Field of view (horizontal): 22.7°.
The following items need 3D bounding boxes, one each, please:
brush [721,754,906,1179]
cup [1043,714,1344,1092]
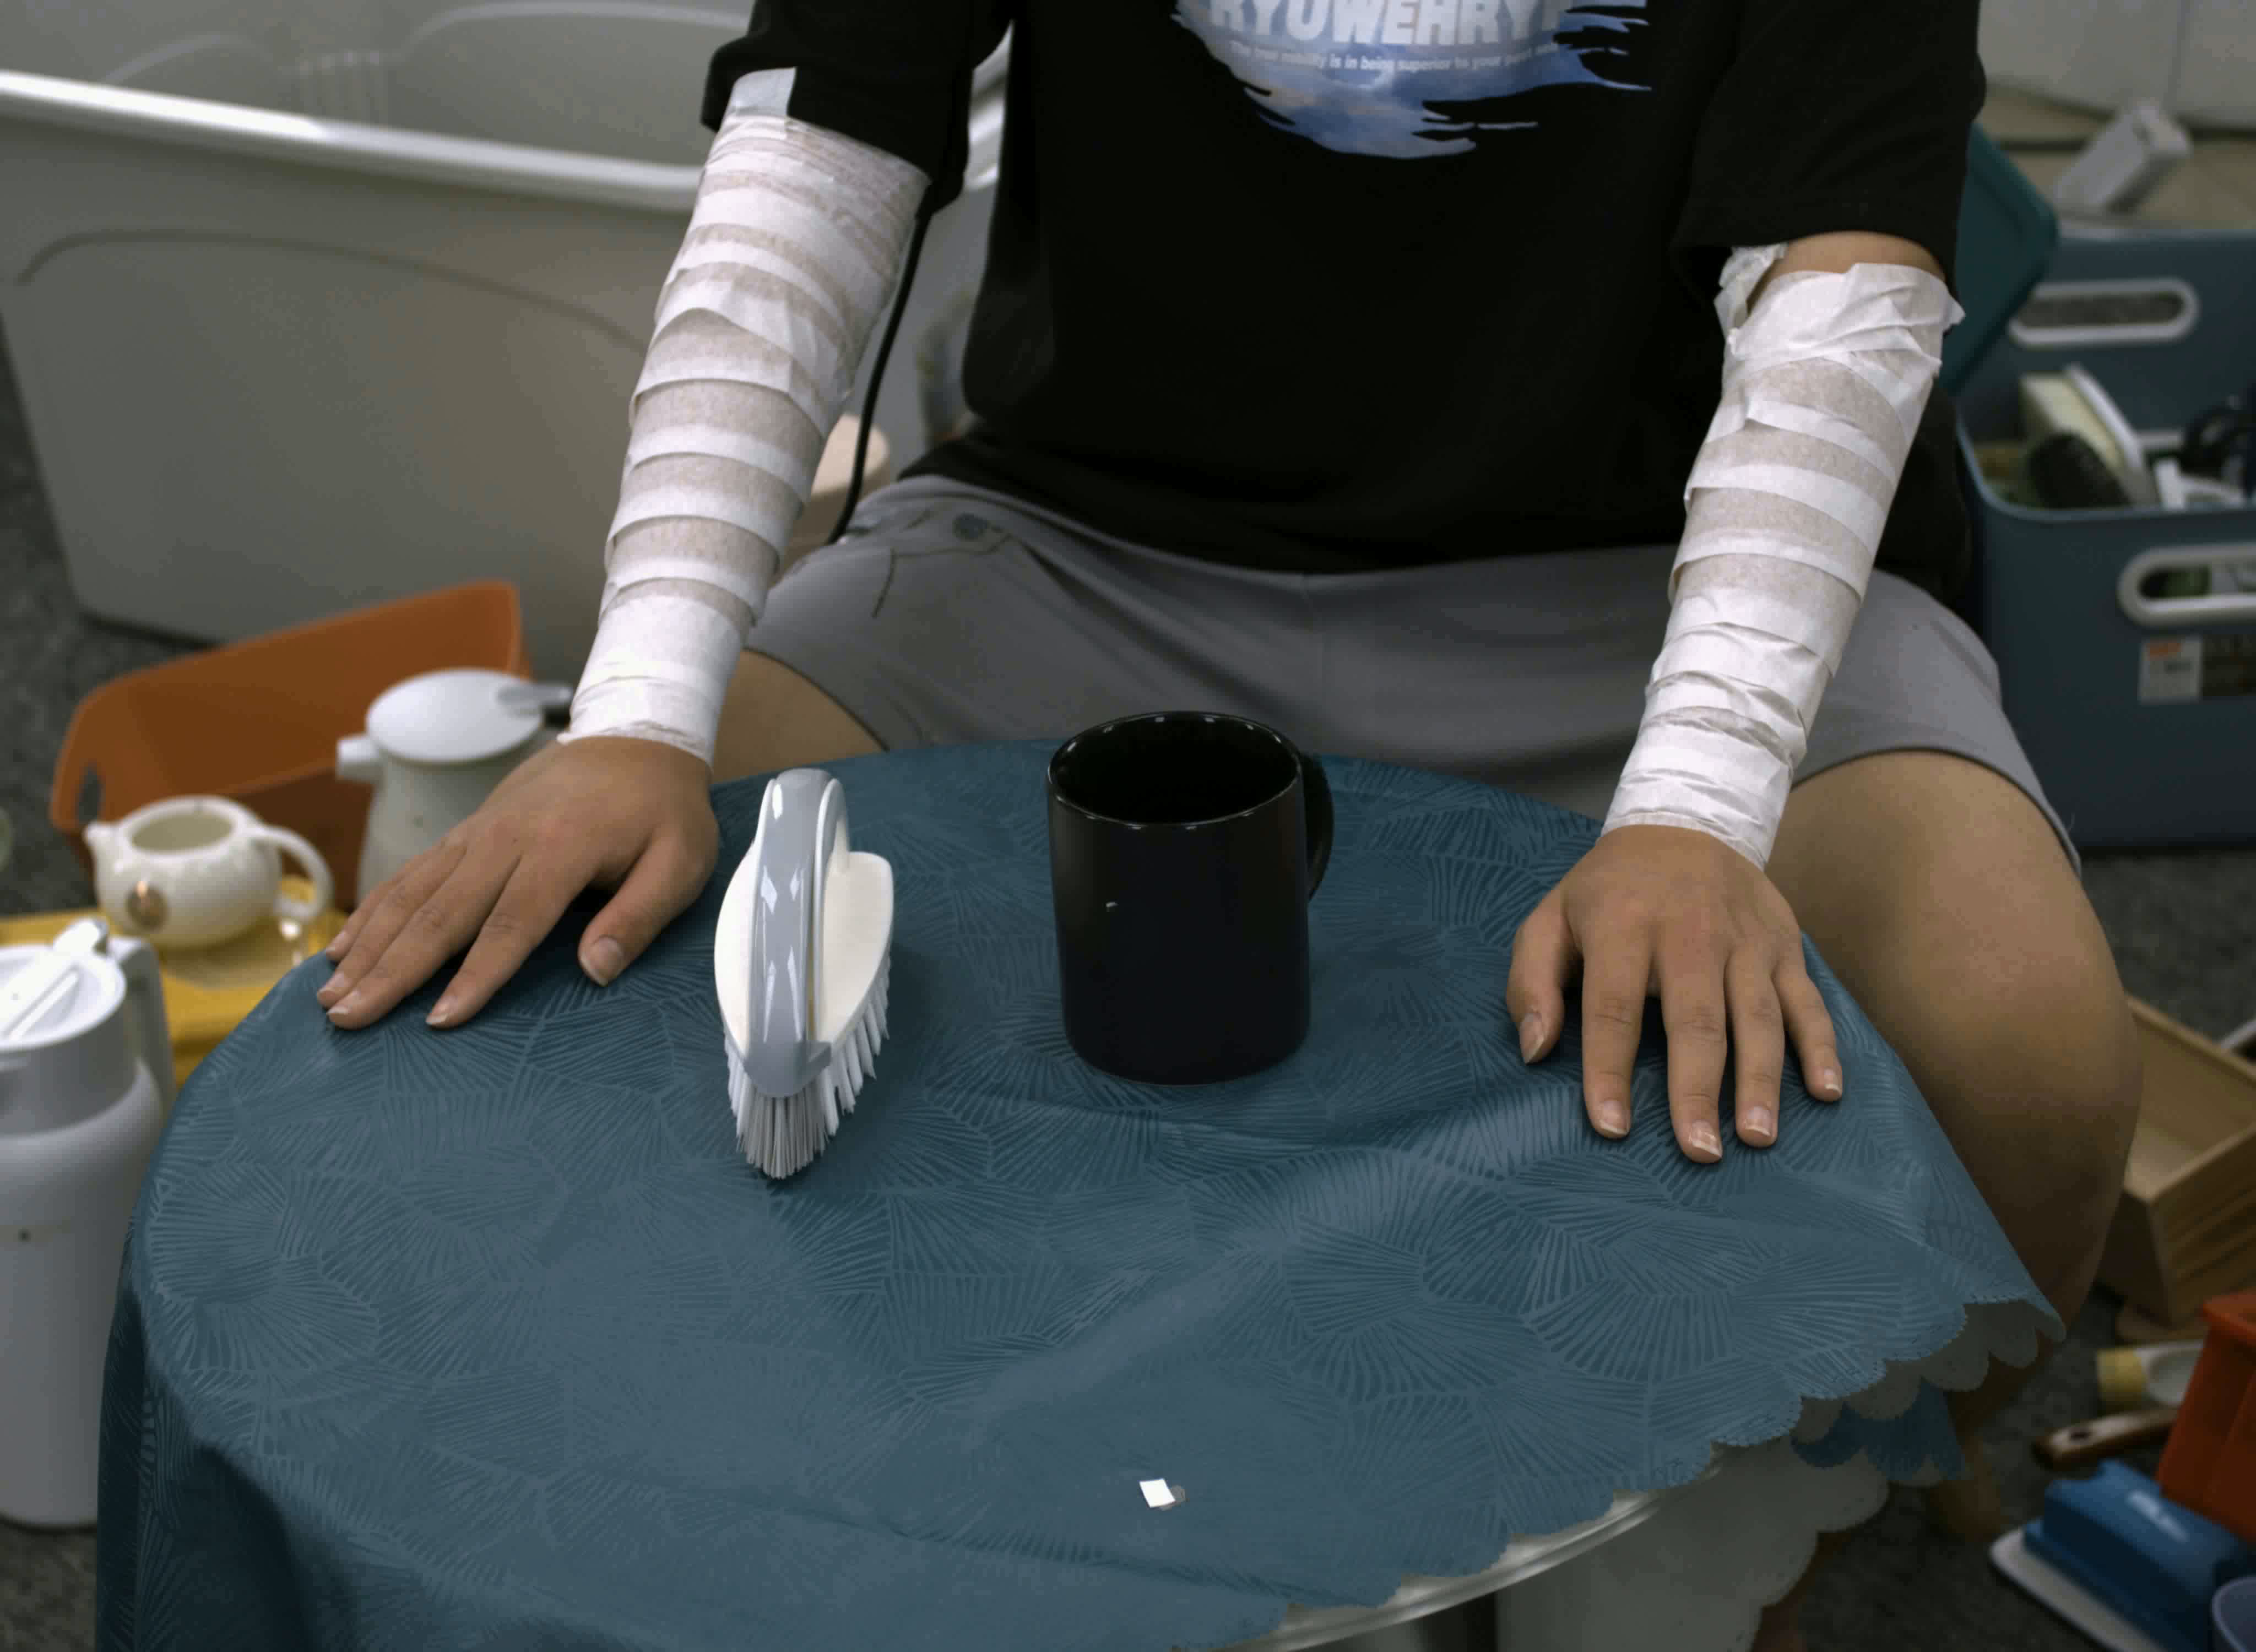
[{"bbox_3d":[-0.112,0.040,1.933,0.061,0.093,0.178,-3,29,5],"label":"brush"},{"bbox_3d":[0.031,0.020,1.948,0.088,0.104,0.125,14,30,40],"label":"cup"}]
